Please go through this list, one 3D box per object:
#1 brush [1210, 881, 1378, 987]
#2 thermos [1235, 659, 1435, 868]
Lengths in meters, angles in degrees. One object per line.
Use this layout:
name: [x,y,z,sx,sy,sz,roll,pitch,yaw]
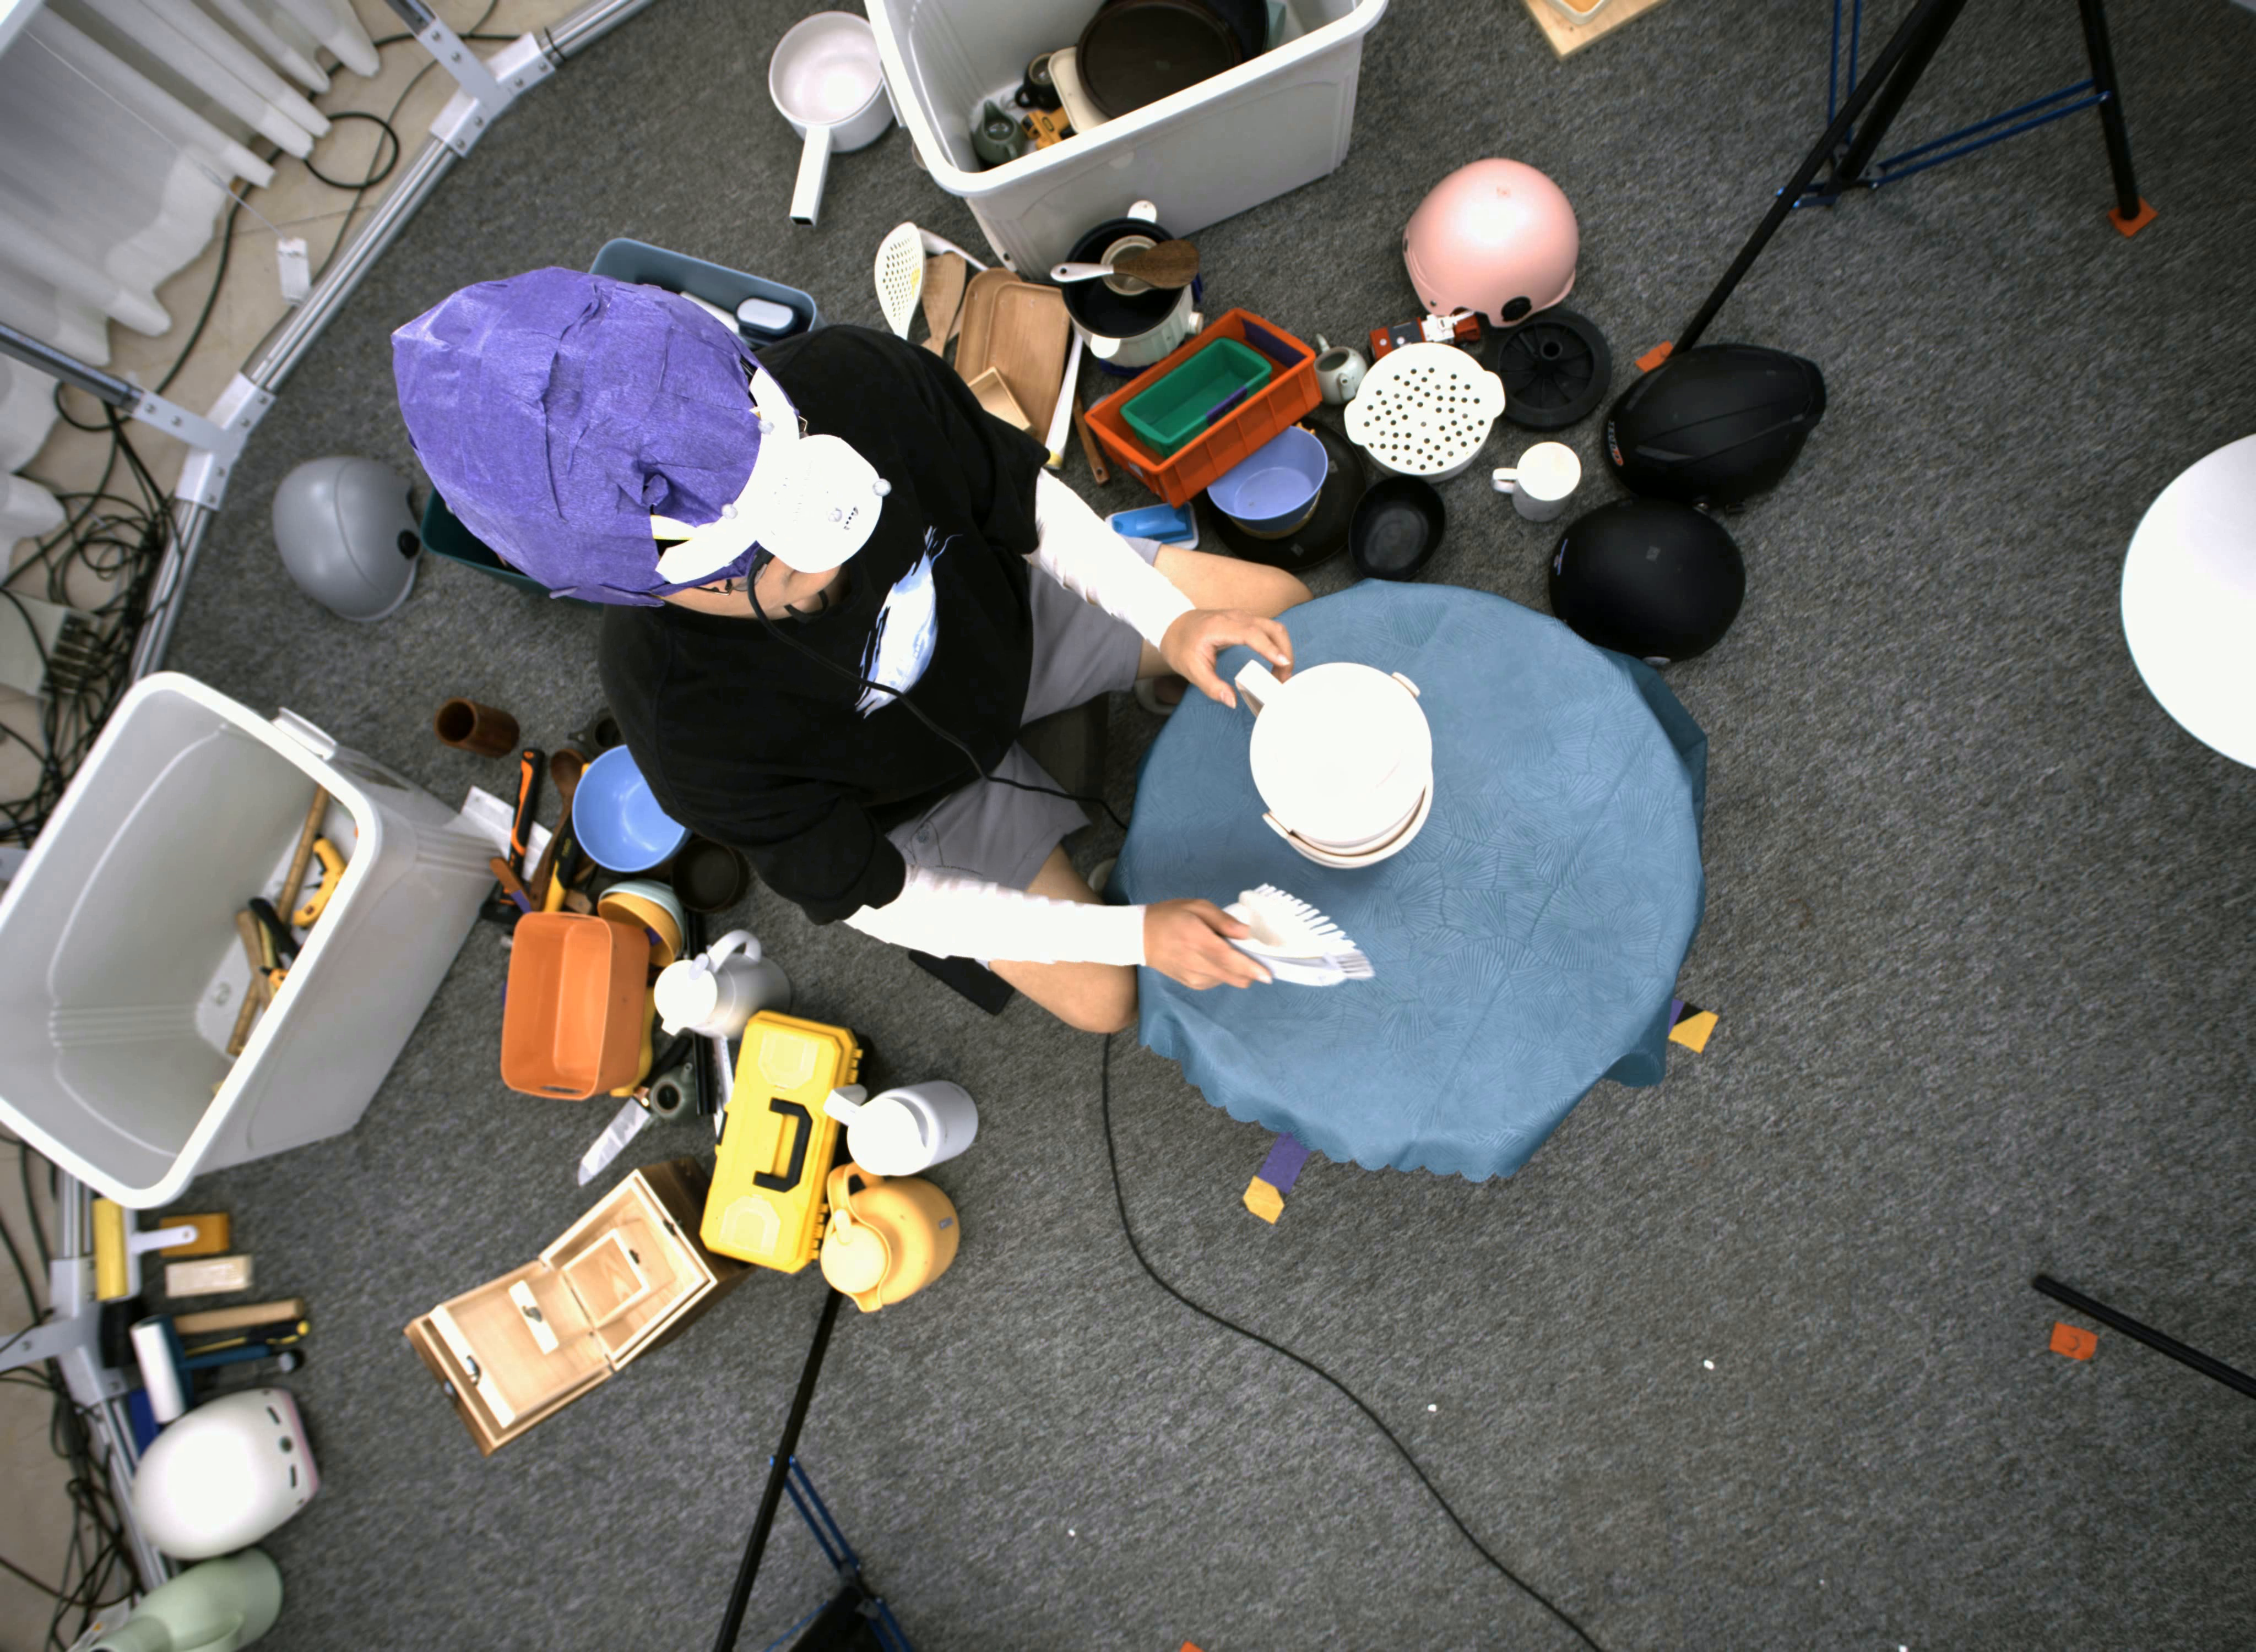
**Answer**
brush: [0.146,0.112,1.302,0.093,0.174,0.062,-20,119,-28]
thermos: [0.190,-0.065,1.280,0.206,0.406,0.176,43,94,11]
